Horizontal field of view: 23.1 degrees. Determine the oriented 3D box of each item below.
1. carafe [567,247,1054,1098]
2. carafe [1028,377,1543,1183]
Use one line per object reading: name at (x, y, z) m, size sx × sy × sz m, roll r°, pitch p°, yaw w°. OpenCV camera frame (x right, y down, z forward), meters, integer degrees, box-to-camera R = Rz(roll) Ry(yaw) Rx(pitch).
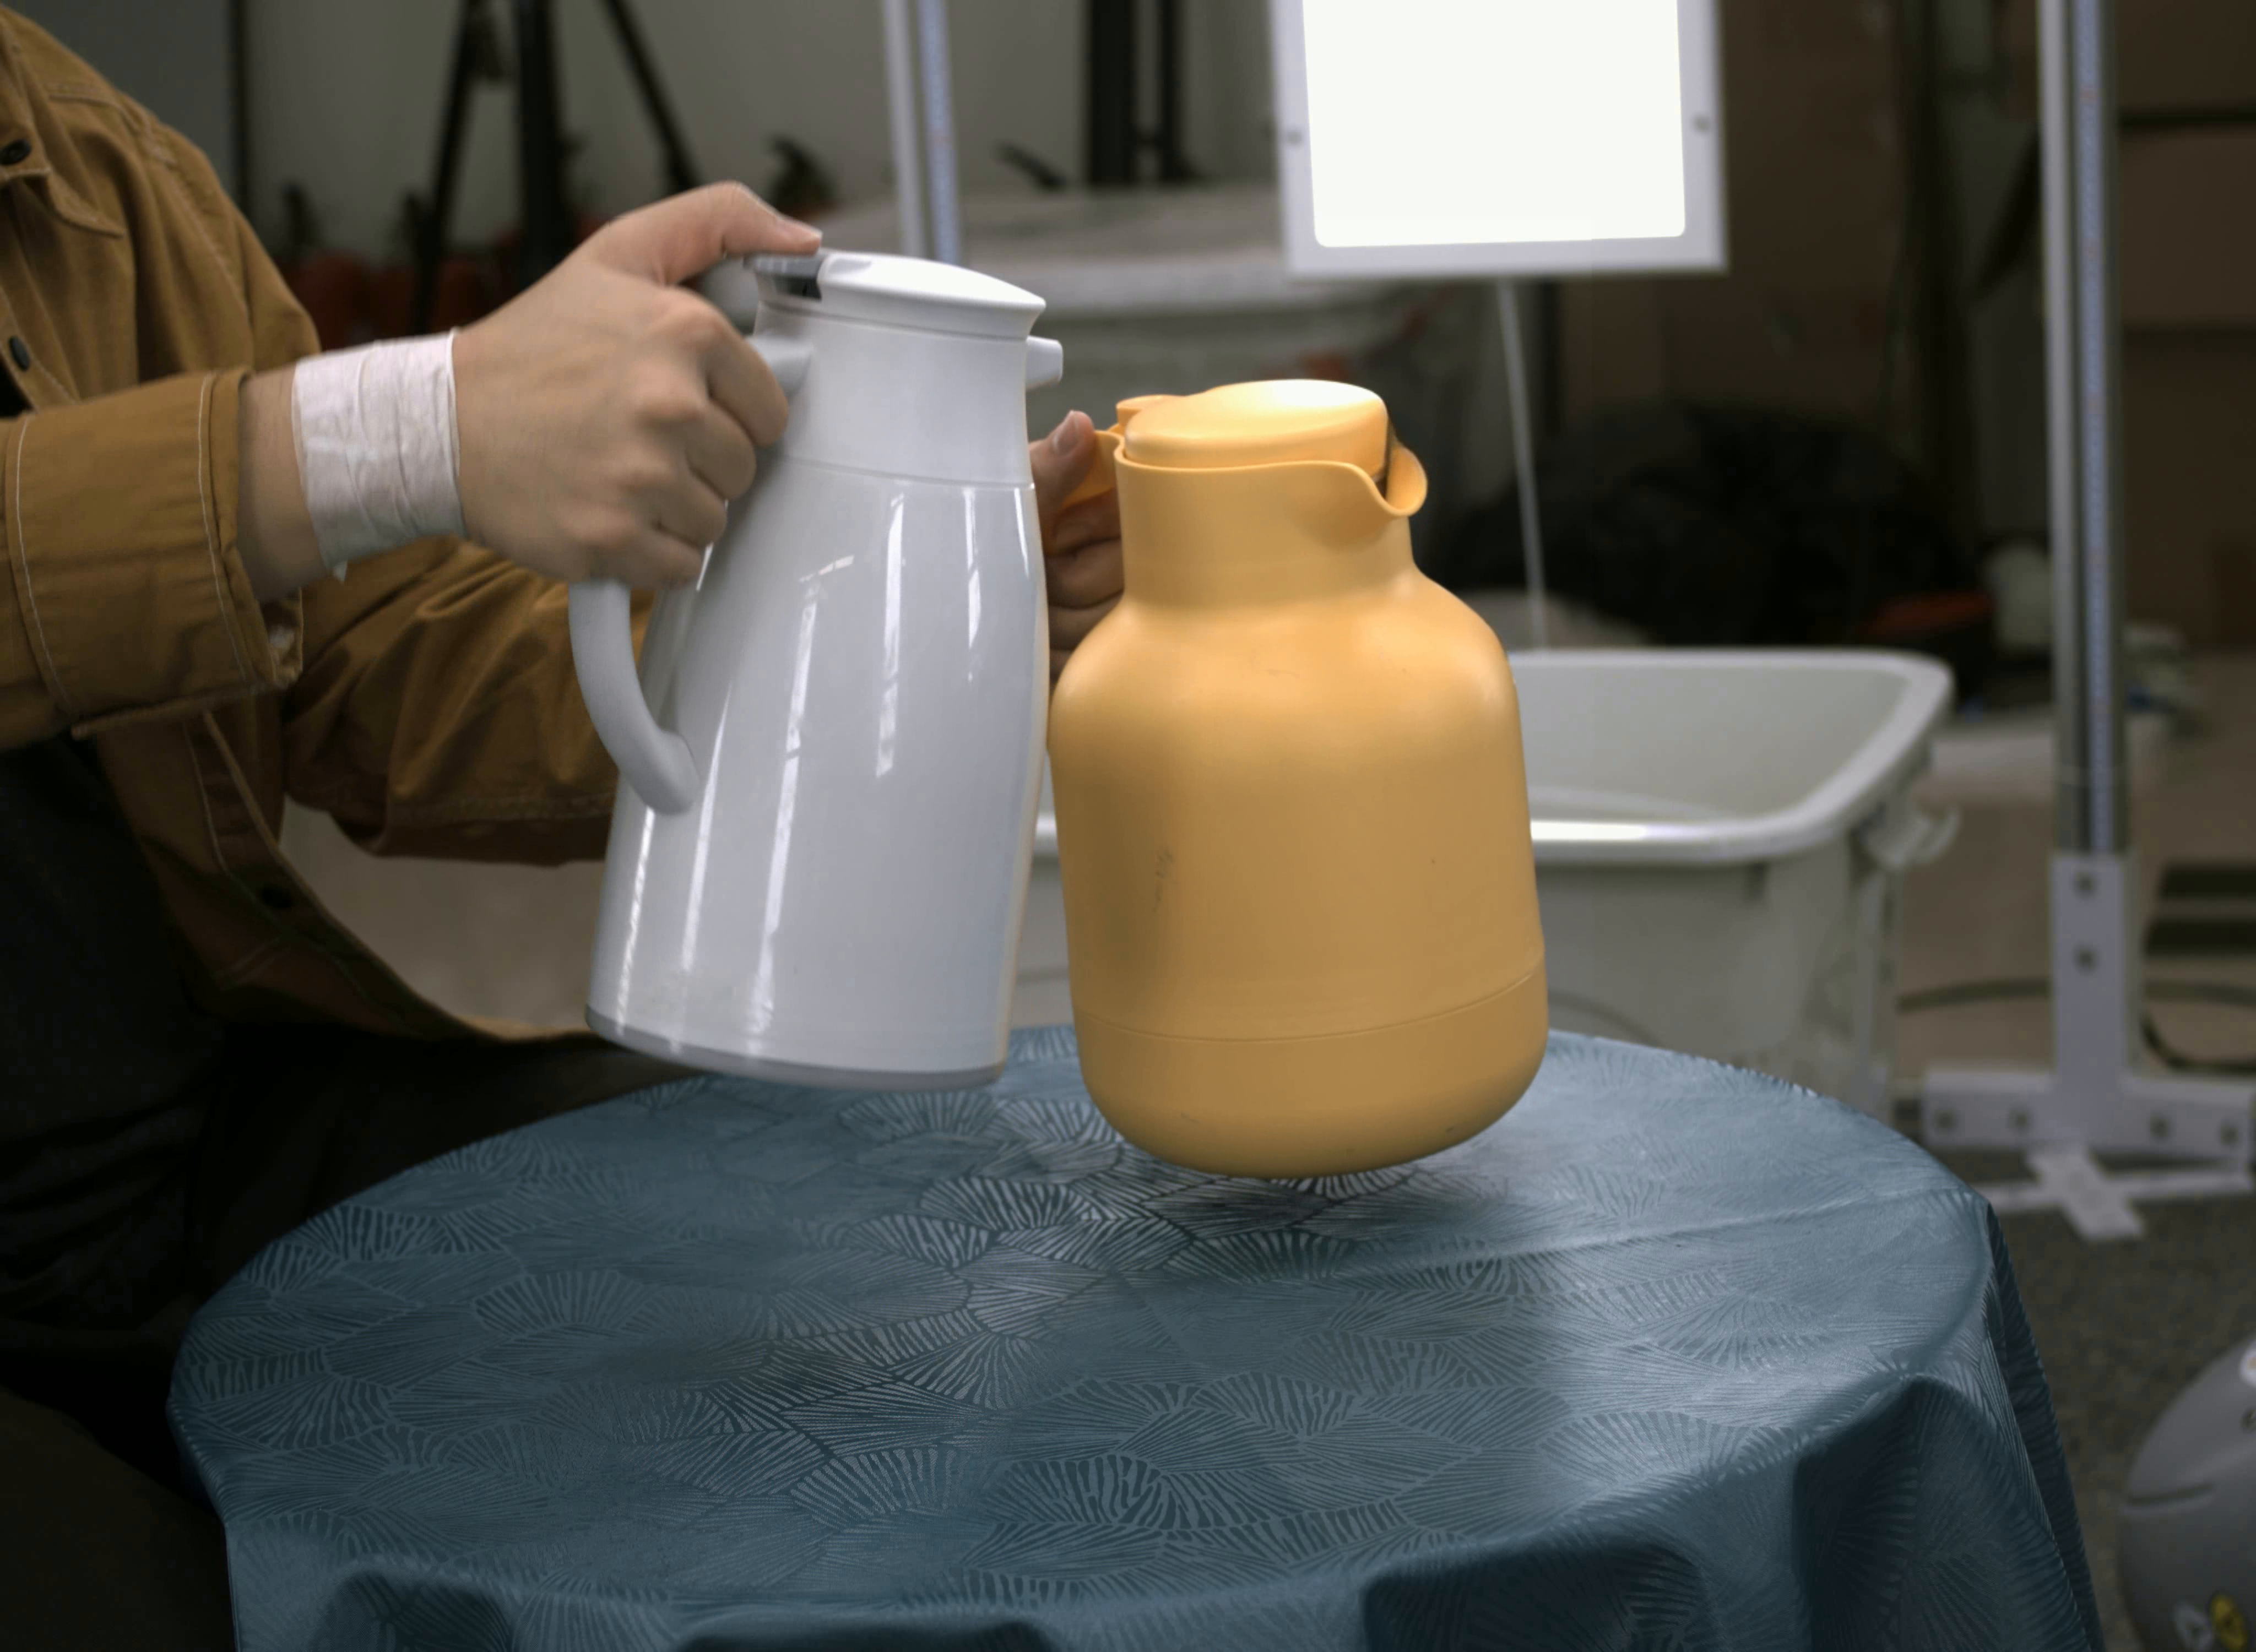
carafe at (-0.100, -0.051, 1.684) m, size 0.163 × 0.250 × 0.135 m, roll -1°, pitch 11°, yaw -41°
carafe at (0.043, -0.023, 1.877) m, size 0.159 × 0.261 × 0.206 m, roll -15°, pitch 19°, yaw -34°
